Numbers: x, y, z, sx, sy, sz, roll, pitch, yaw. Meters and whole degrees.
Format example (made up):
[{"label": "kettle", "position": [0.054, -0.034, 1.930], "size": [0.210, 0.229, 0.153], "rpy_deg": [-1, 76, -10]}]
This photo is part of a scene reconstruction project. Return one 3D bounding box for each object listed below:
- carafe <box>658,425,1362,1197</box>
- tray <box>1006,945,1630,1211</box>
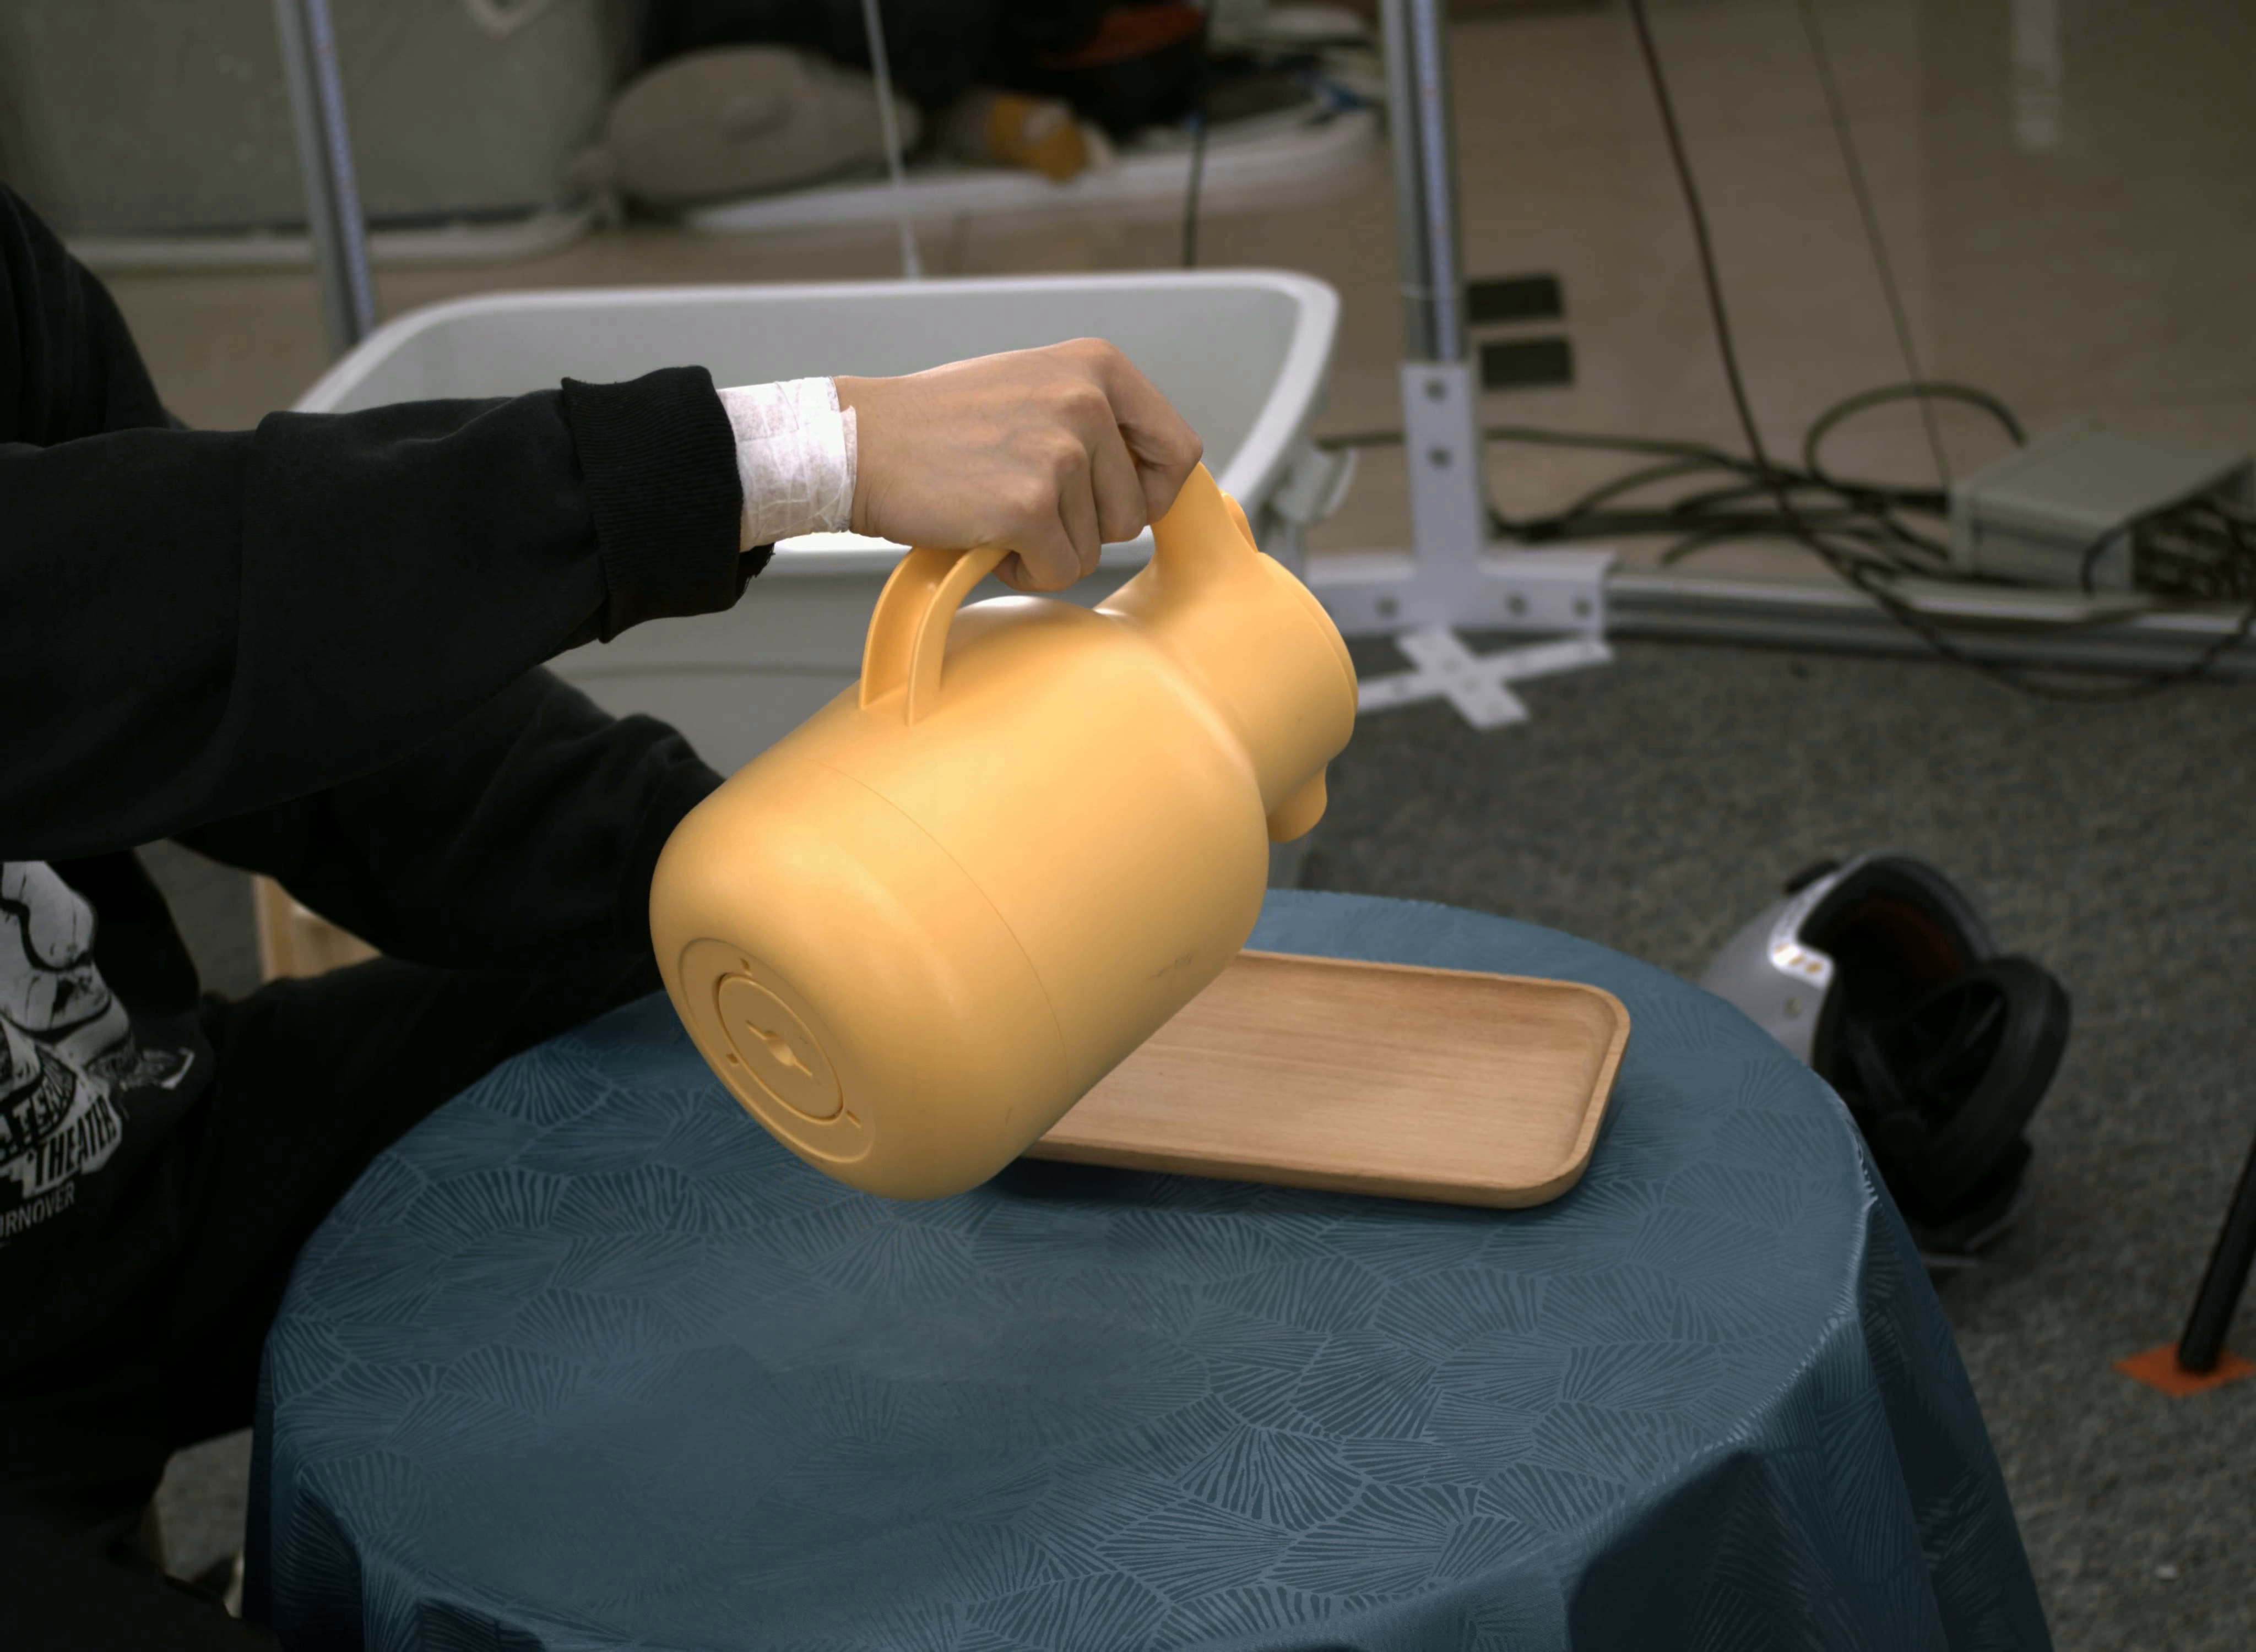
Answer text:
[{"label": "carafe", "position": [-0.037, -0.014, 1.972], "size": [0.162, 0.206, 0.257], "rpy_deg": [16, 47, 44]}, {"label": "tray", "position": [0.062, 0.093, 2.174], "size": [0.250, 0.023, 0.128], "rpy_deg": [5, 36, 18]}]
